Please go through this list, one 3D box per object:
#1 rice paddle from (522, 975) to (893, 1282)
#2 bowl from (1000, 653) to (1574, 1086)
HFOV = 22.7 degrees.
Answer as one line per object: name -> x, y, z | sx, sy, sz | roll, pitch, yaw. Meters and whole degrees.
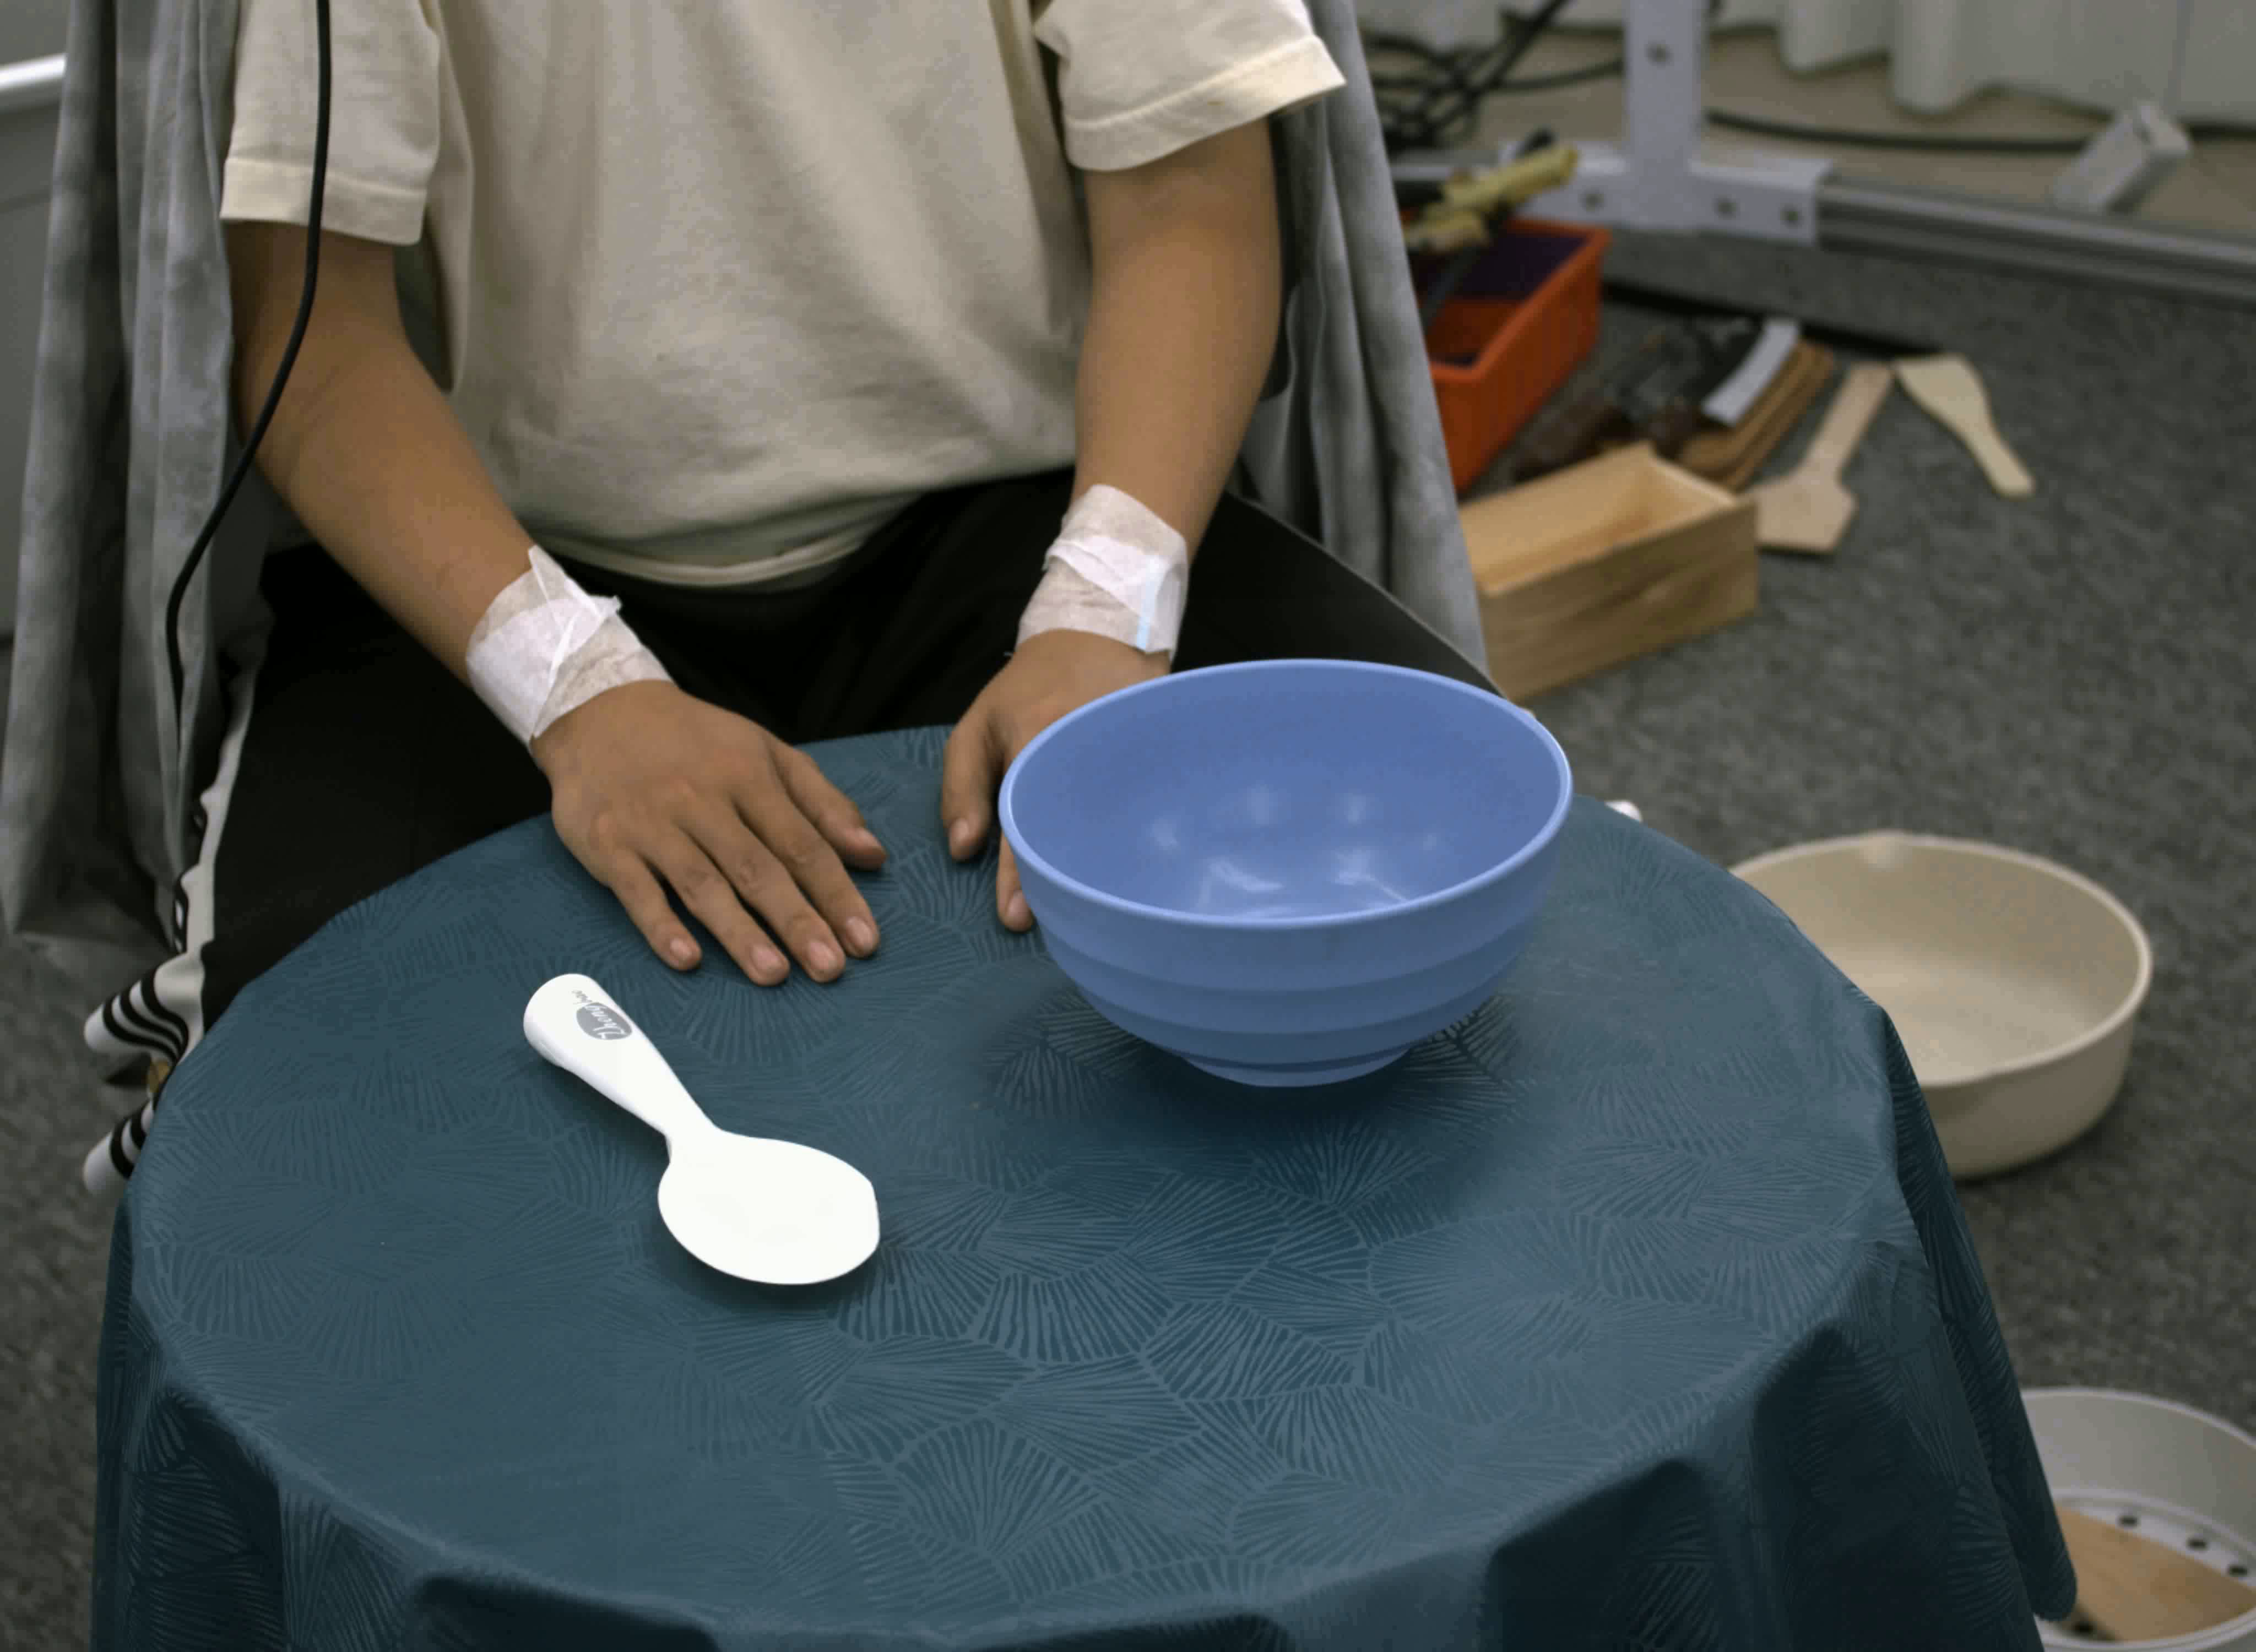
rice paddle -> -0.144, 0.103, 1.878 | 0.069, 0.029, 0.206 | -19, 31, -26
bowl -> 0.056, 0.026, 1.936 | 0.195, 0.094, 0.199 | -2, 28, 2
